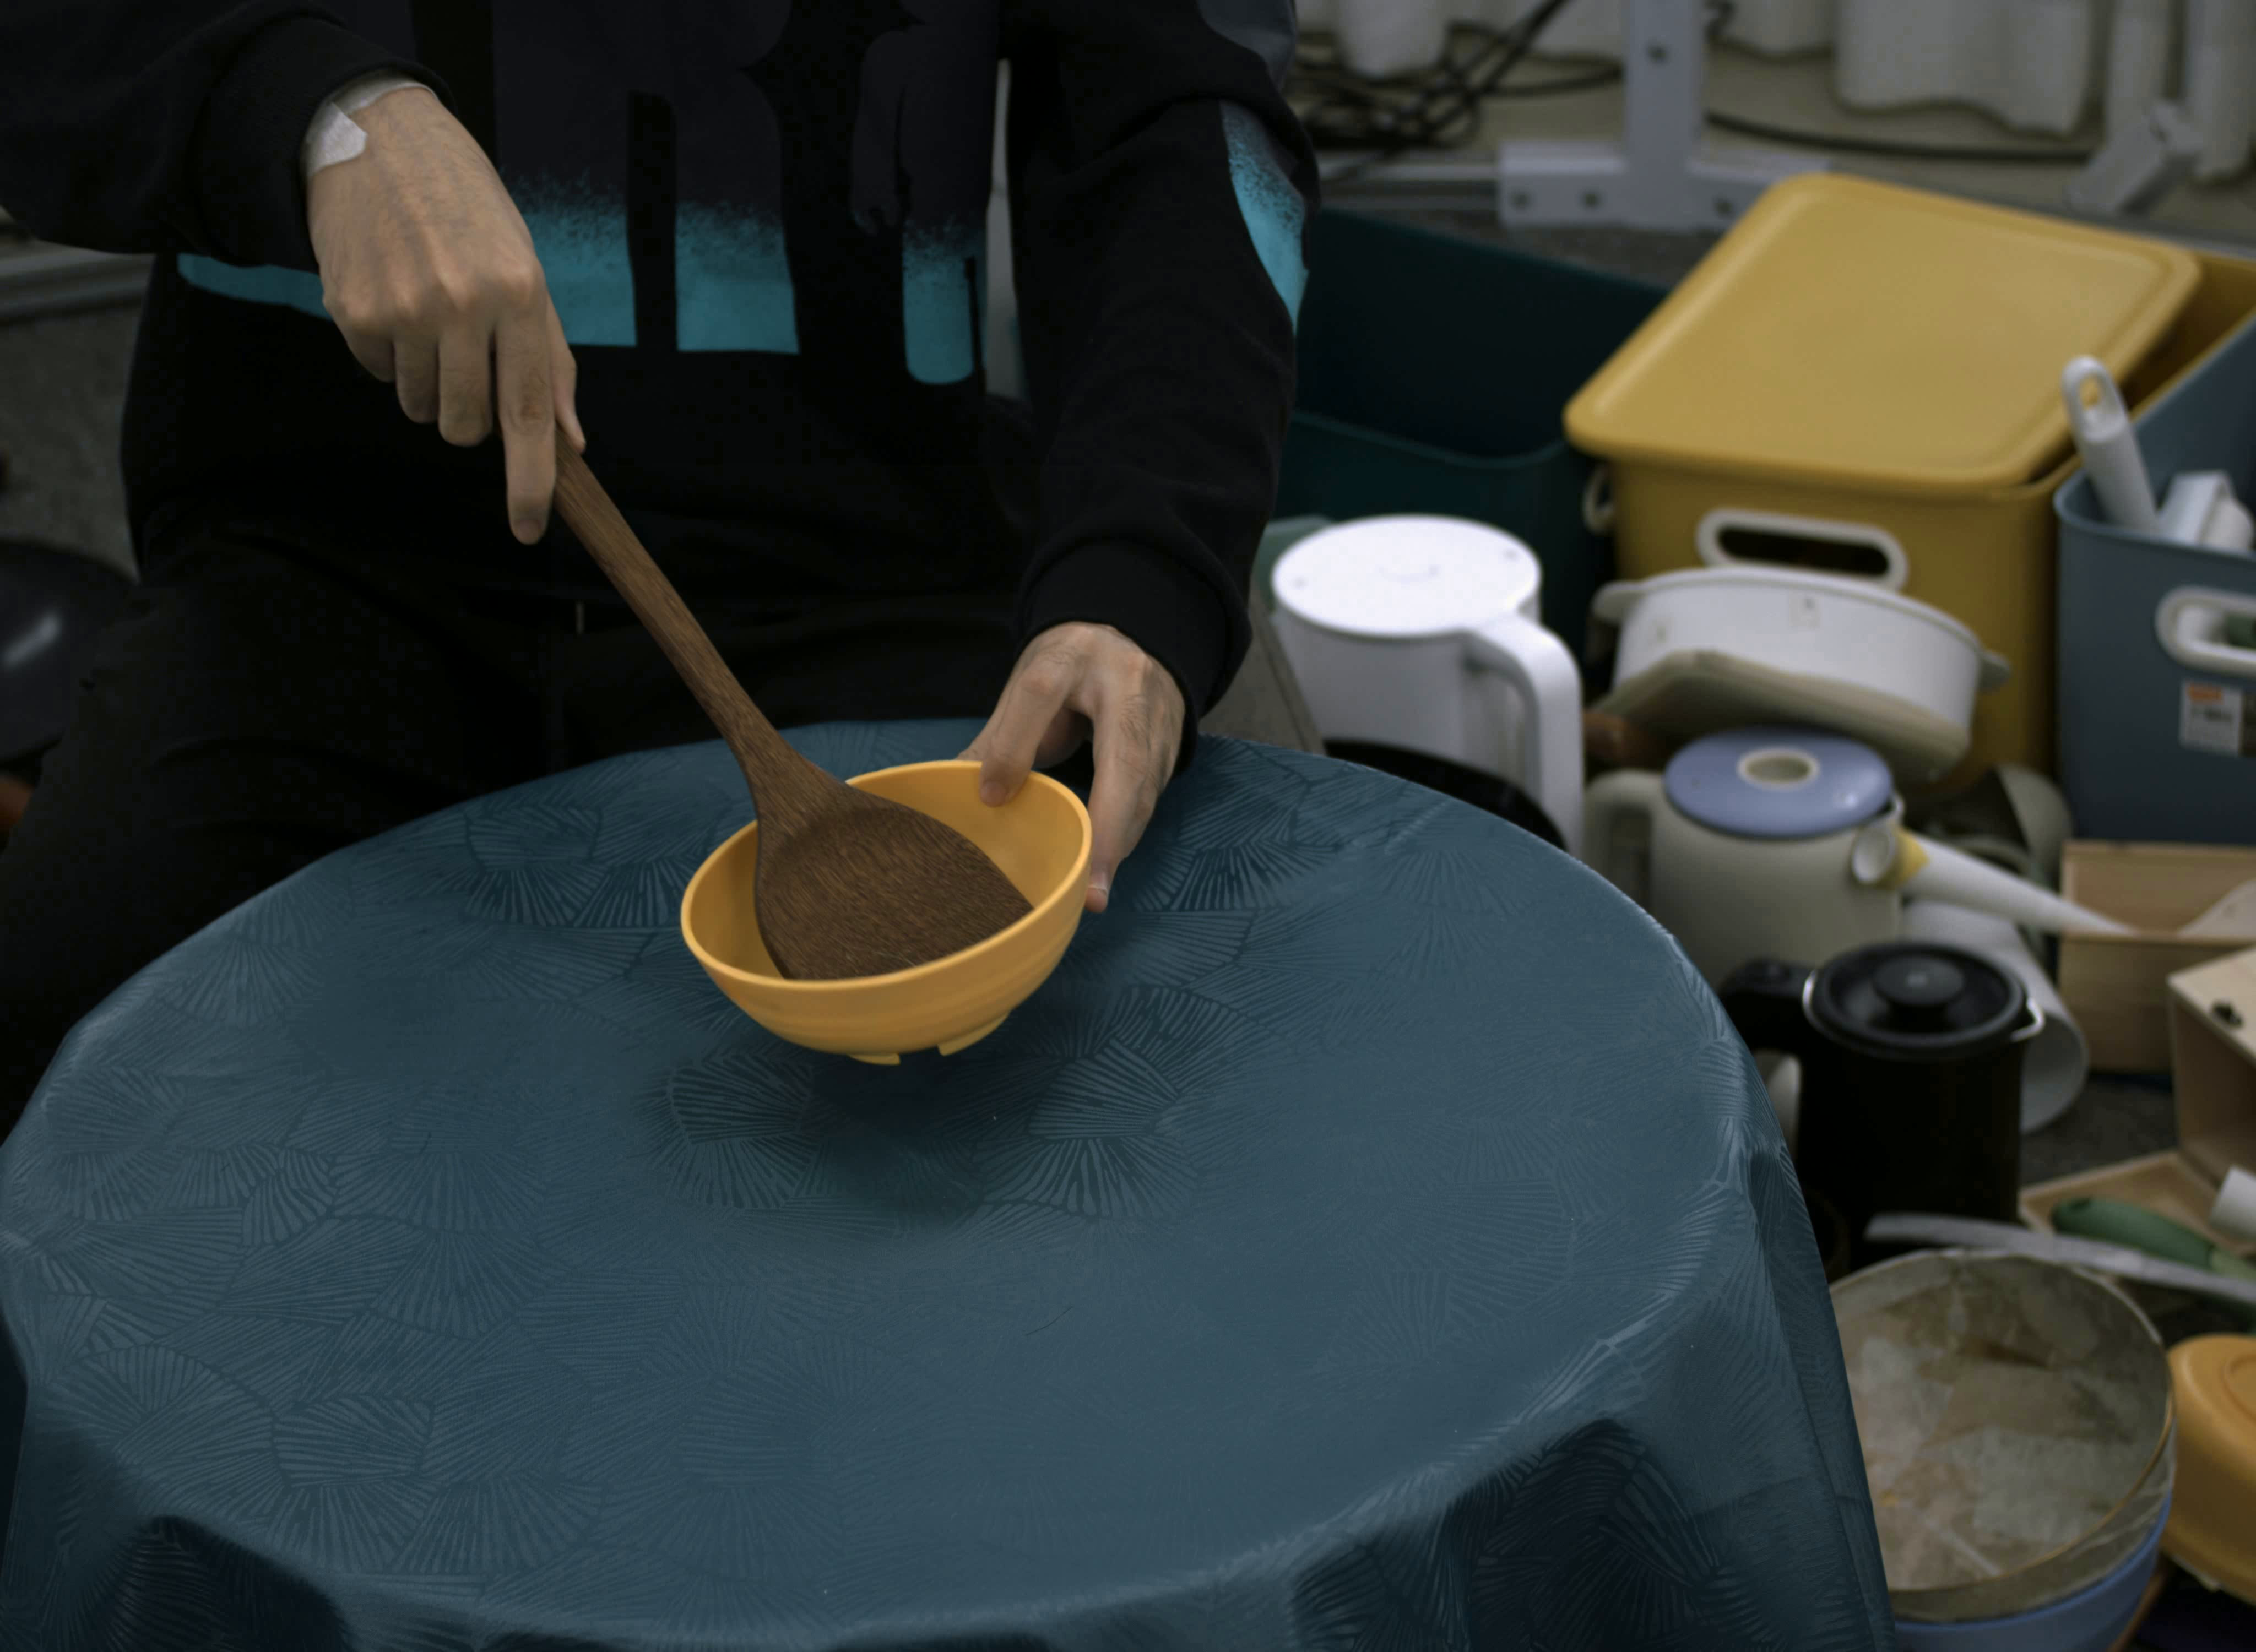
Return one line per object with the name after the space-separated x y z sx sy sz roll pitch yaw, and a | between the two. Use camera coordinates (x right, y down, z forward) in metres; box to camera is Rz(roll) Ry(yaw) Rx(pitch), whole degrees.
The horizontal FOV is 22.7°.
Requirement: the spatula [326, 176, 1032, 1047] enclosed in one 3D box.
-0.168 -0.082 1.954 0.097 0.015 0.388 -26 72 -35 | spatula

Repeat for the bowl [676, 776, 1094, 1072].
-0.078 0.042 1.922 0.144 0.059 0.147 -8 26 4 | bowl
